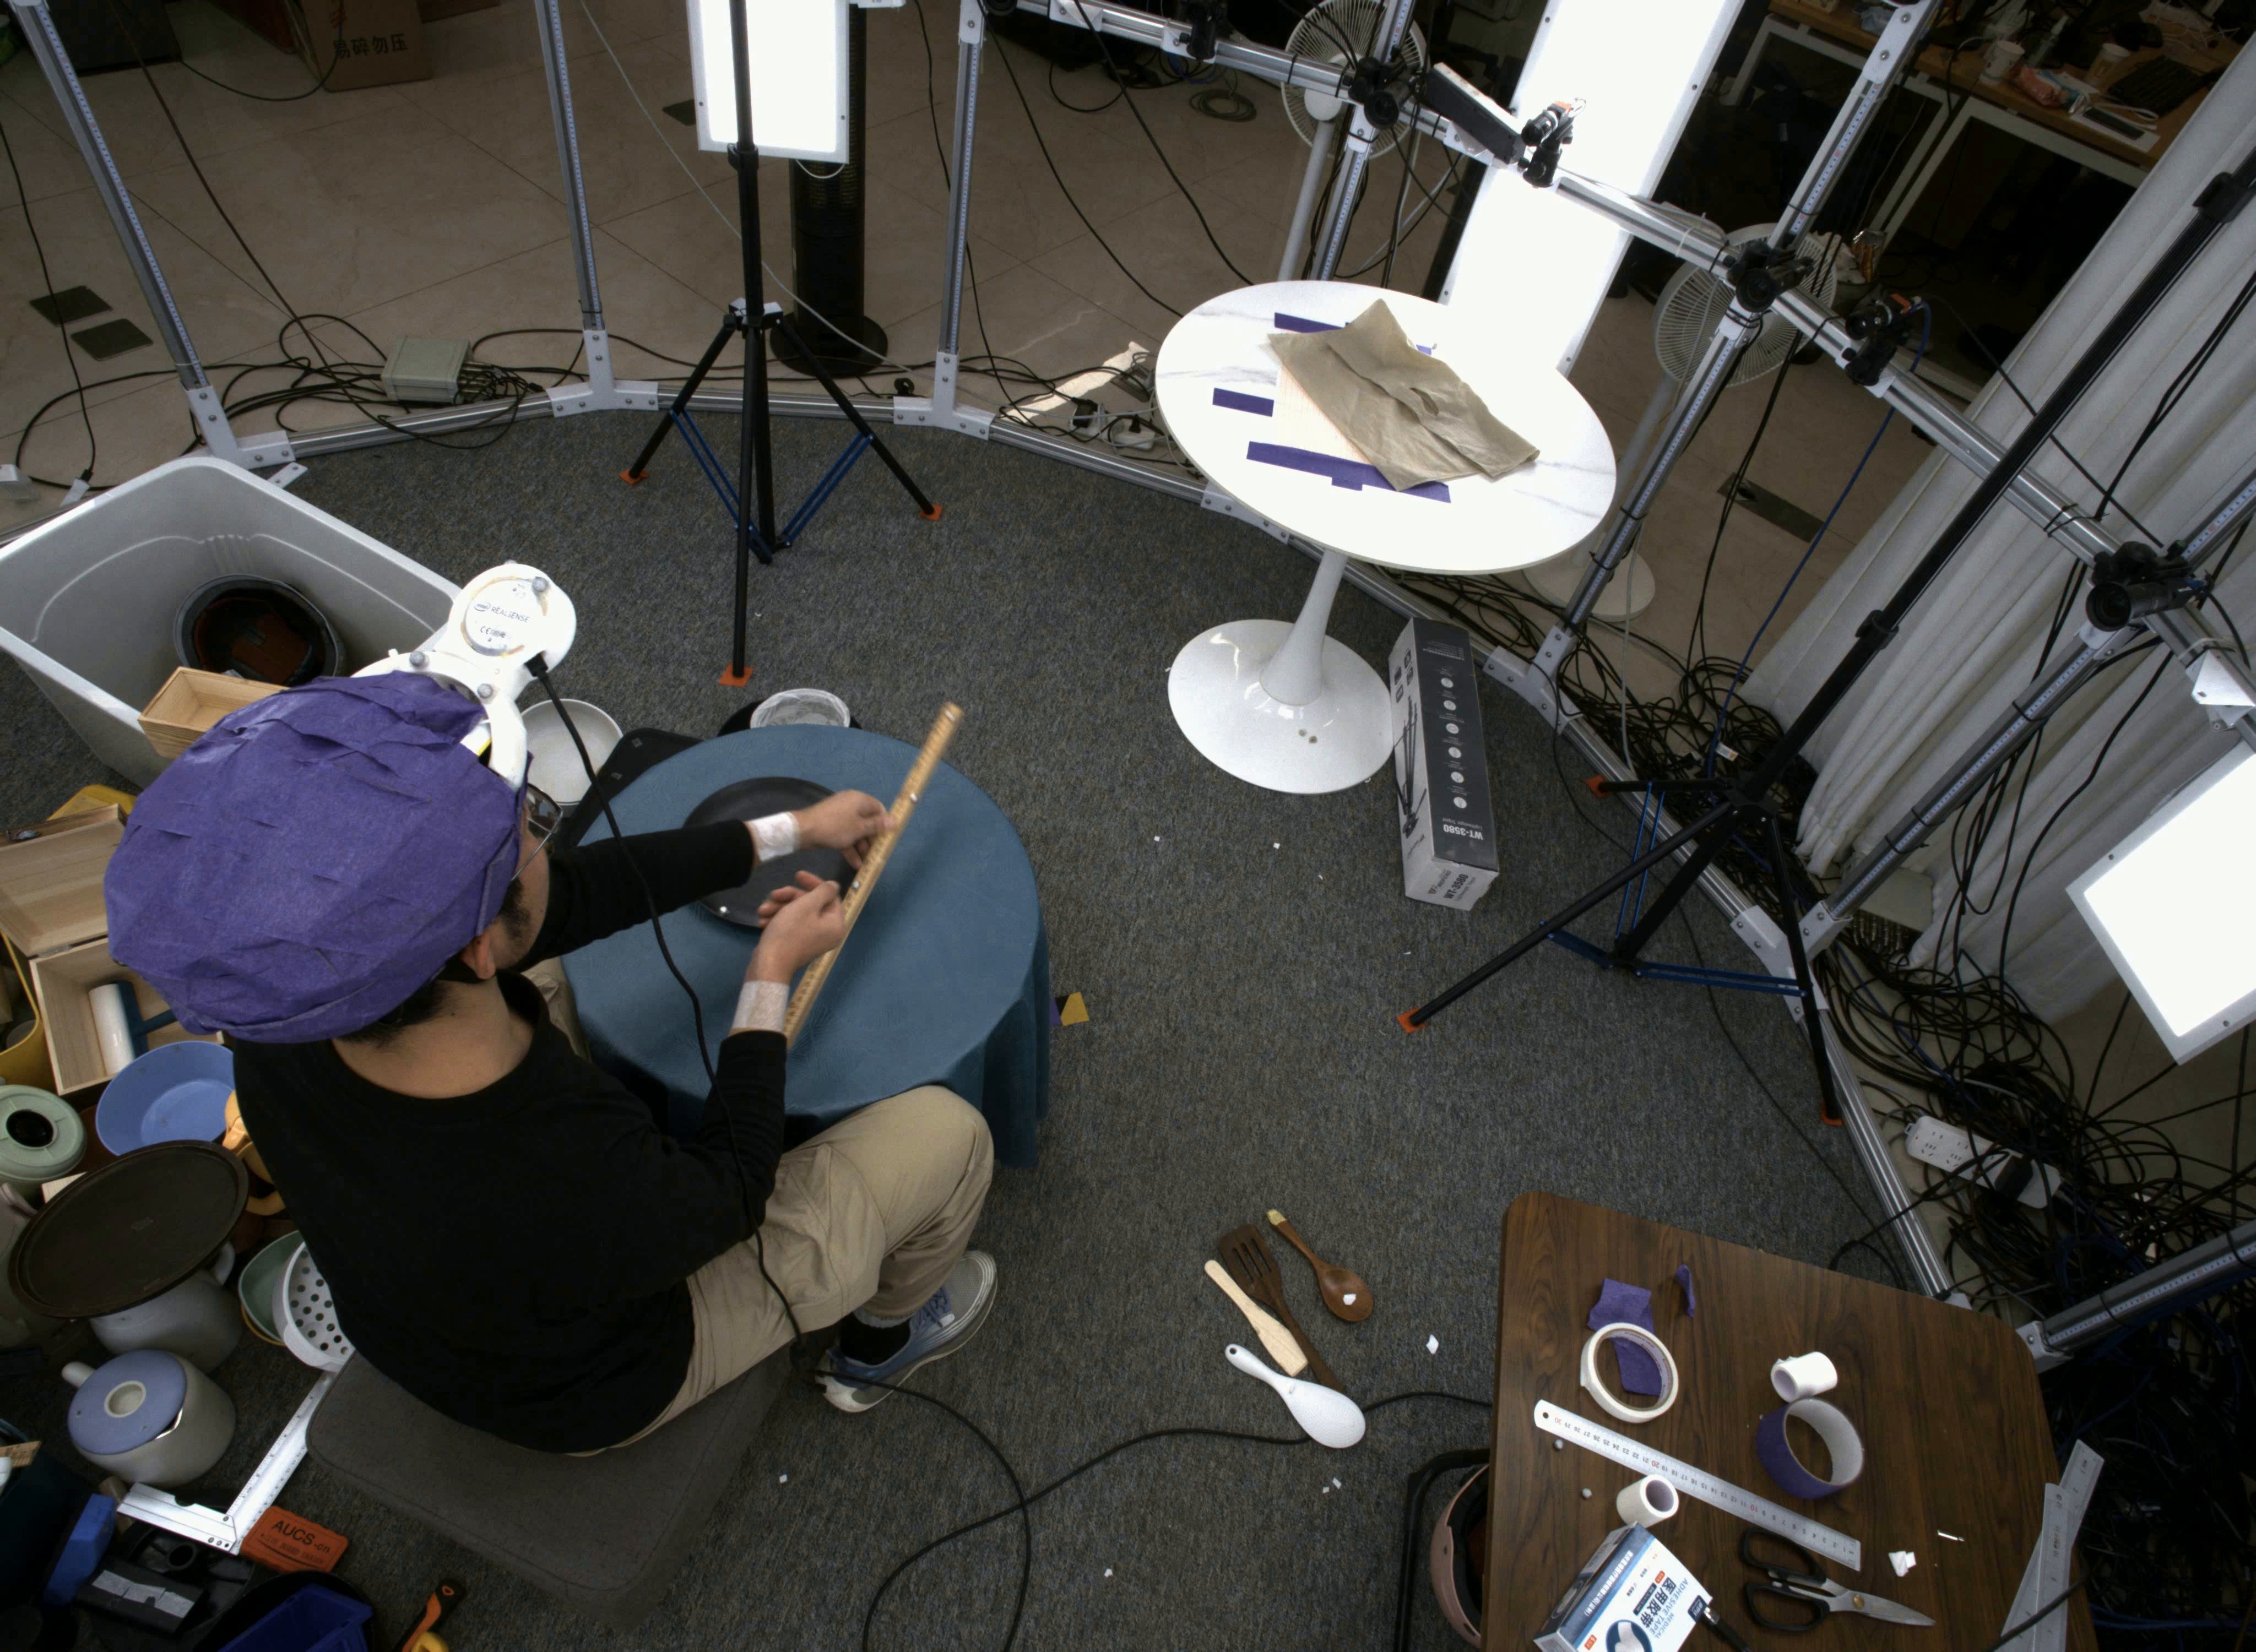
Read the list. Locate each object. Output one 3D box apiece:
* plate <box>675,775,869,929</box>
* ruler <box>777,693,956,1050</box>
[{"bbox_3d":[-0.458,0.034,1.669,0.244,0.024,0.240,8,53,-9],"label":"plate"},{"bbox_3d":[-0.317,0.041,1.601,0.026,0.006,0.498,22,65,-2],"label":"ruler"}]
